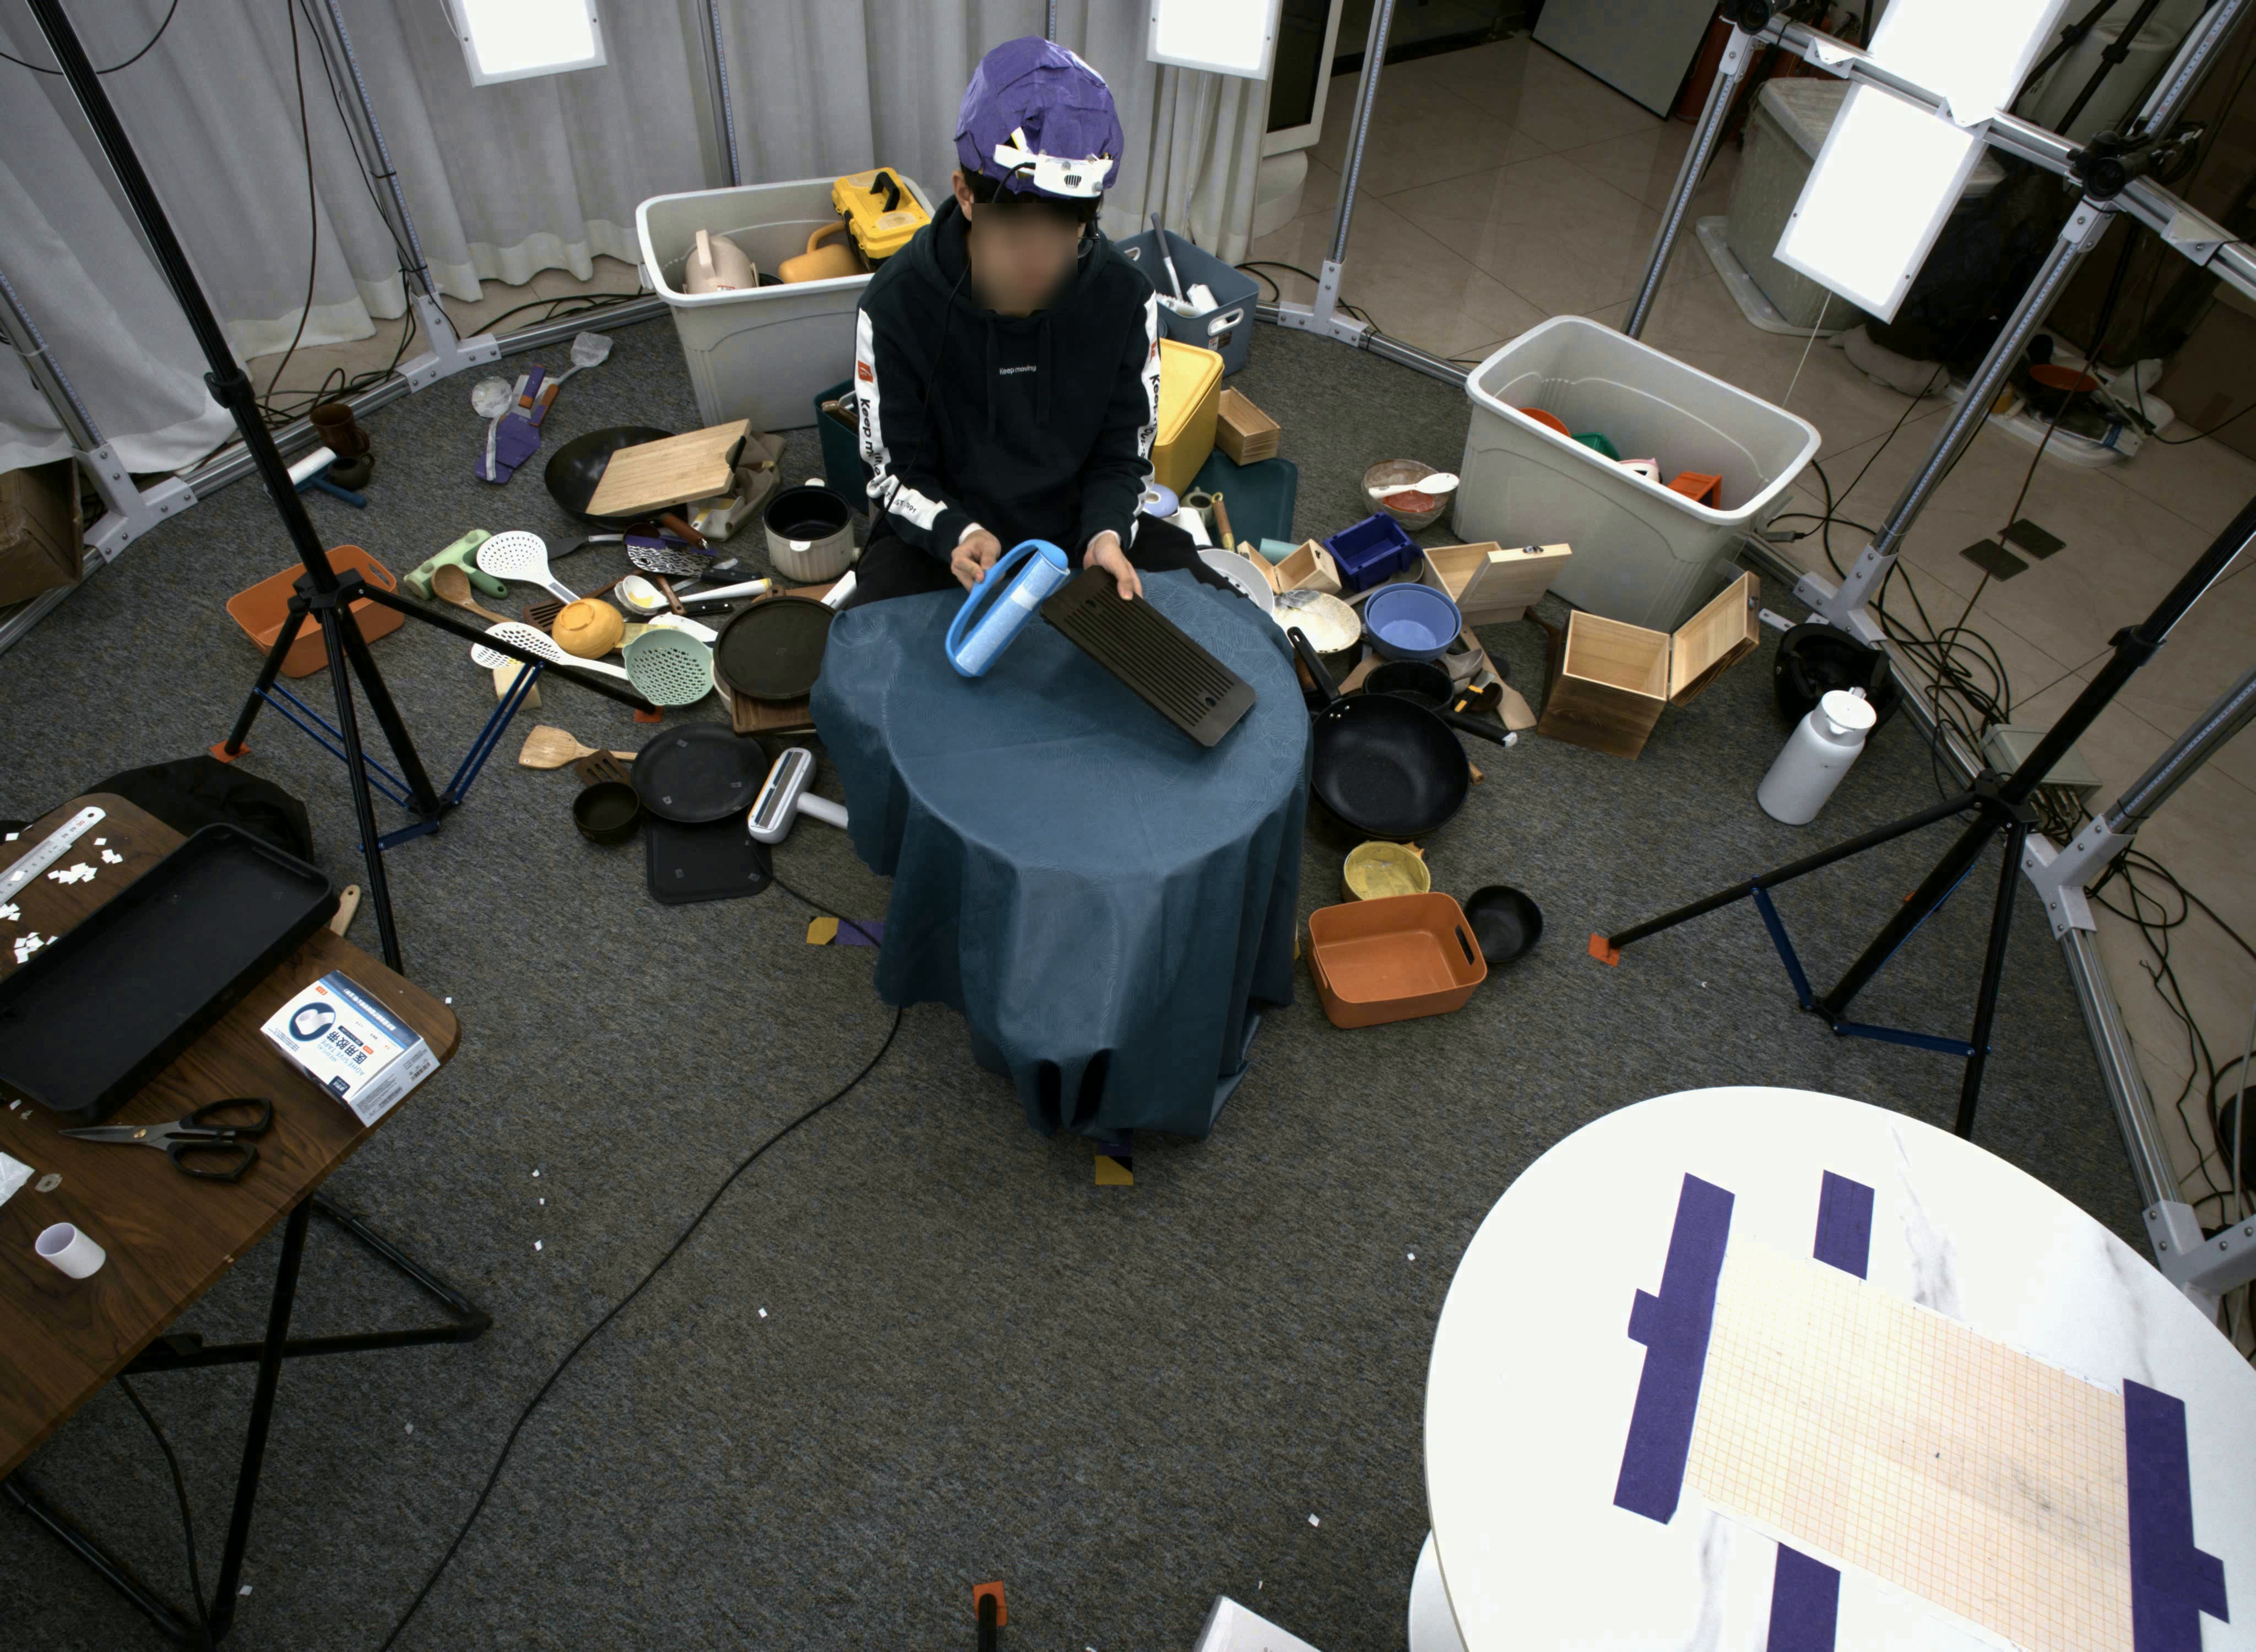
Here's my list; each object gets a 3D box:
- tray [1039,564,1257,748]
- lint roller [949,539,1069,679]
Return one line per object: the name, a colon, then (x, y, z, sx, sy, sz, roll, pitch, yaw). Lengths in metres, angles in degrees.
tray: (0.030, -0.239, 1.791, 0.307, 0.018, 0.172, 39, 43, 5)
lint roller: (-0.185, -0.333, 1.828, 0.067, 0.227, 0.184, 23, 24, -41)
